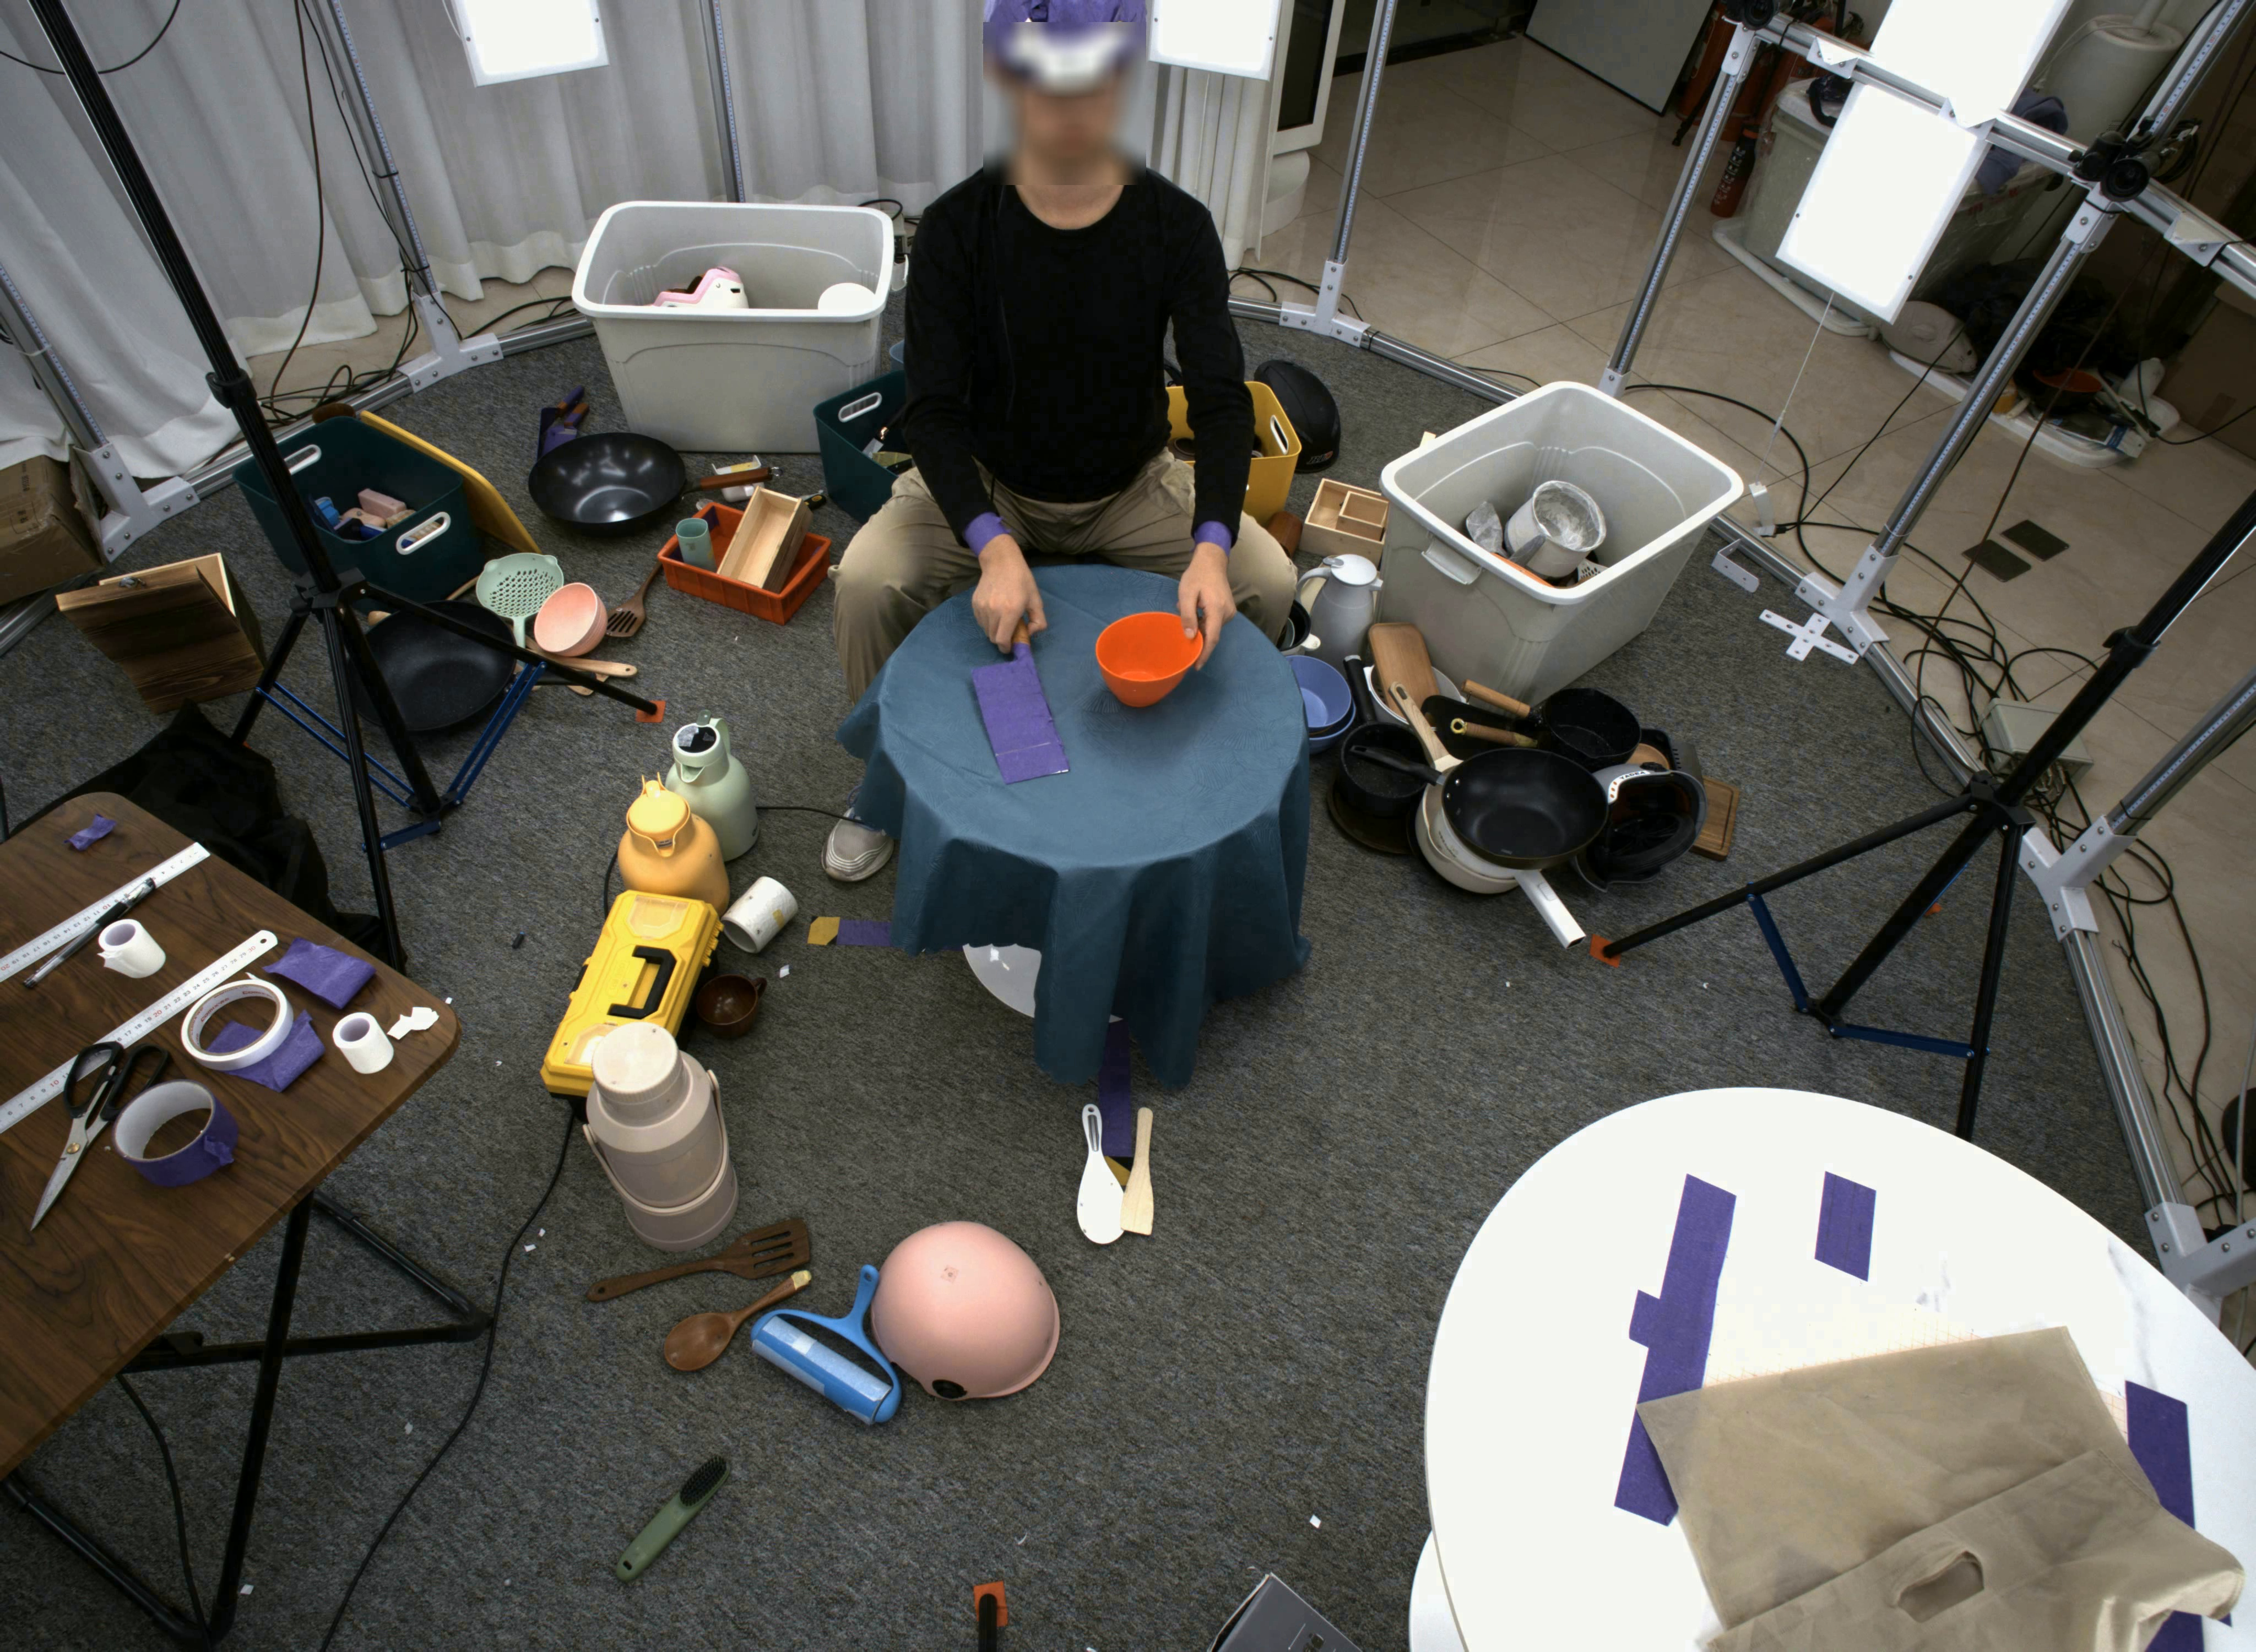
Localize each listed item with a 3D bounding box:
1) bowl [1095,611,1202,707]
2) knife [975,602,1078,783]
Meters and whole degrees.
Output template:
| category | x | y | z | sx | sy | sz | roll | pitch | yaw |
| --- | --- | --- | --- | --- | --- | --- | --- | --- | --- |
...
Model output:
| category | x | y | z | sx | sy | sz | roll | pitch | yaw |
| --- | --- | --- | --- | --- | --- | --- | --- | --- | --- |
| bowl | 0.026 | -0.223 | 1.798 | 0.148 | 0.102 | 0.152 | 1 | 51 | -1 |
| knife | -0.160 | -0.192 | 1.800 | 0.104 | 0.031 | 0.323 | -11 | 54 | -13 |
